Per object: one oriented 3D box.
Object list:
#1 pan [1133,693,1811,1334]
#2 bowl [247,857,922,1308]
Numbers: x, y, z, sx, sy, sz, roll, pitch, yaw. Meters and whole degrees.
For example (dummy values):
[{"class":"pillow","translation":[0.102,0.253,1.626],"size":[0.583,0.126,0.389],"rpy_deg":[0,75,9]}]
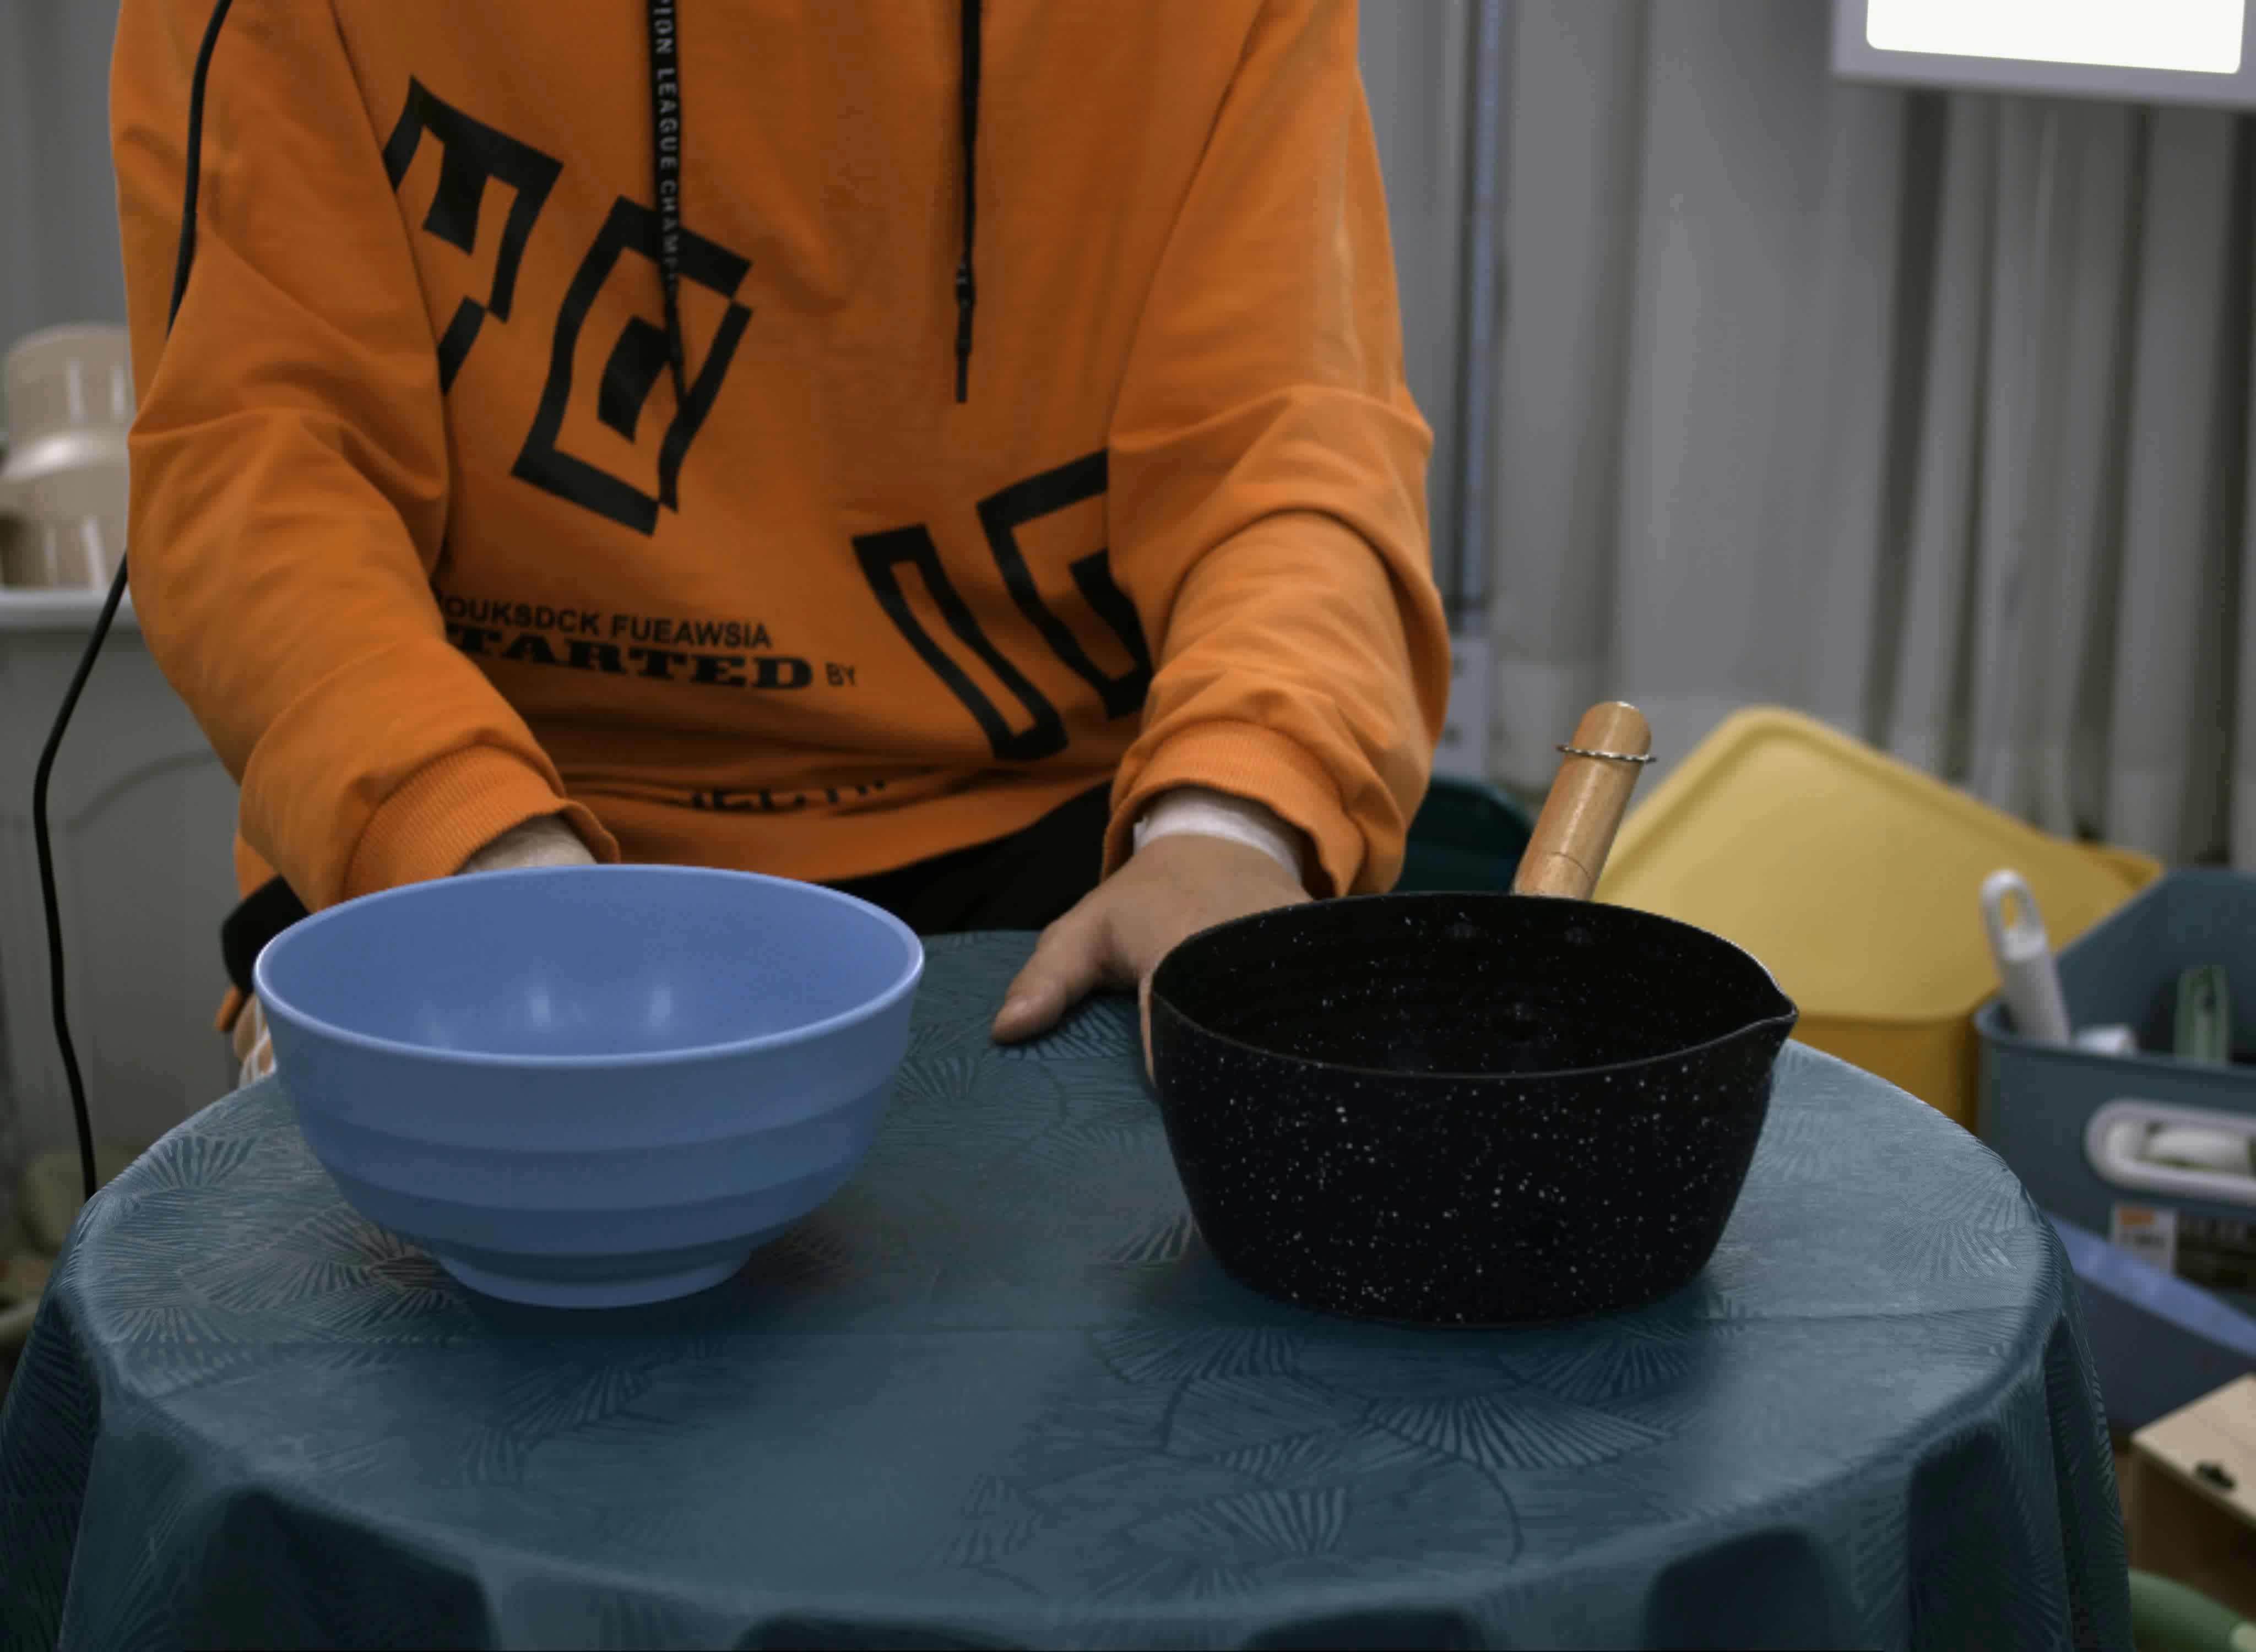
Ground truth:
[{"class":"pan","translation":[0.119,0.053,1.636],"size":[0.206,0.109,0.342],"rpy_deg":[3,17,14]},{"class":"bowl","translation":[-0.158,0.081,1.549],"size":[0.196,0.096,0.195],"rpy_deg":[0,17,0]}]
